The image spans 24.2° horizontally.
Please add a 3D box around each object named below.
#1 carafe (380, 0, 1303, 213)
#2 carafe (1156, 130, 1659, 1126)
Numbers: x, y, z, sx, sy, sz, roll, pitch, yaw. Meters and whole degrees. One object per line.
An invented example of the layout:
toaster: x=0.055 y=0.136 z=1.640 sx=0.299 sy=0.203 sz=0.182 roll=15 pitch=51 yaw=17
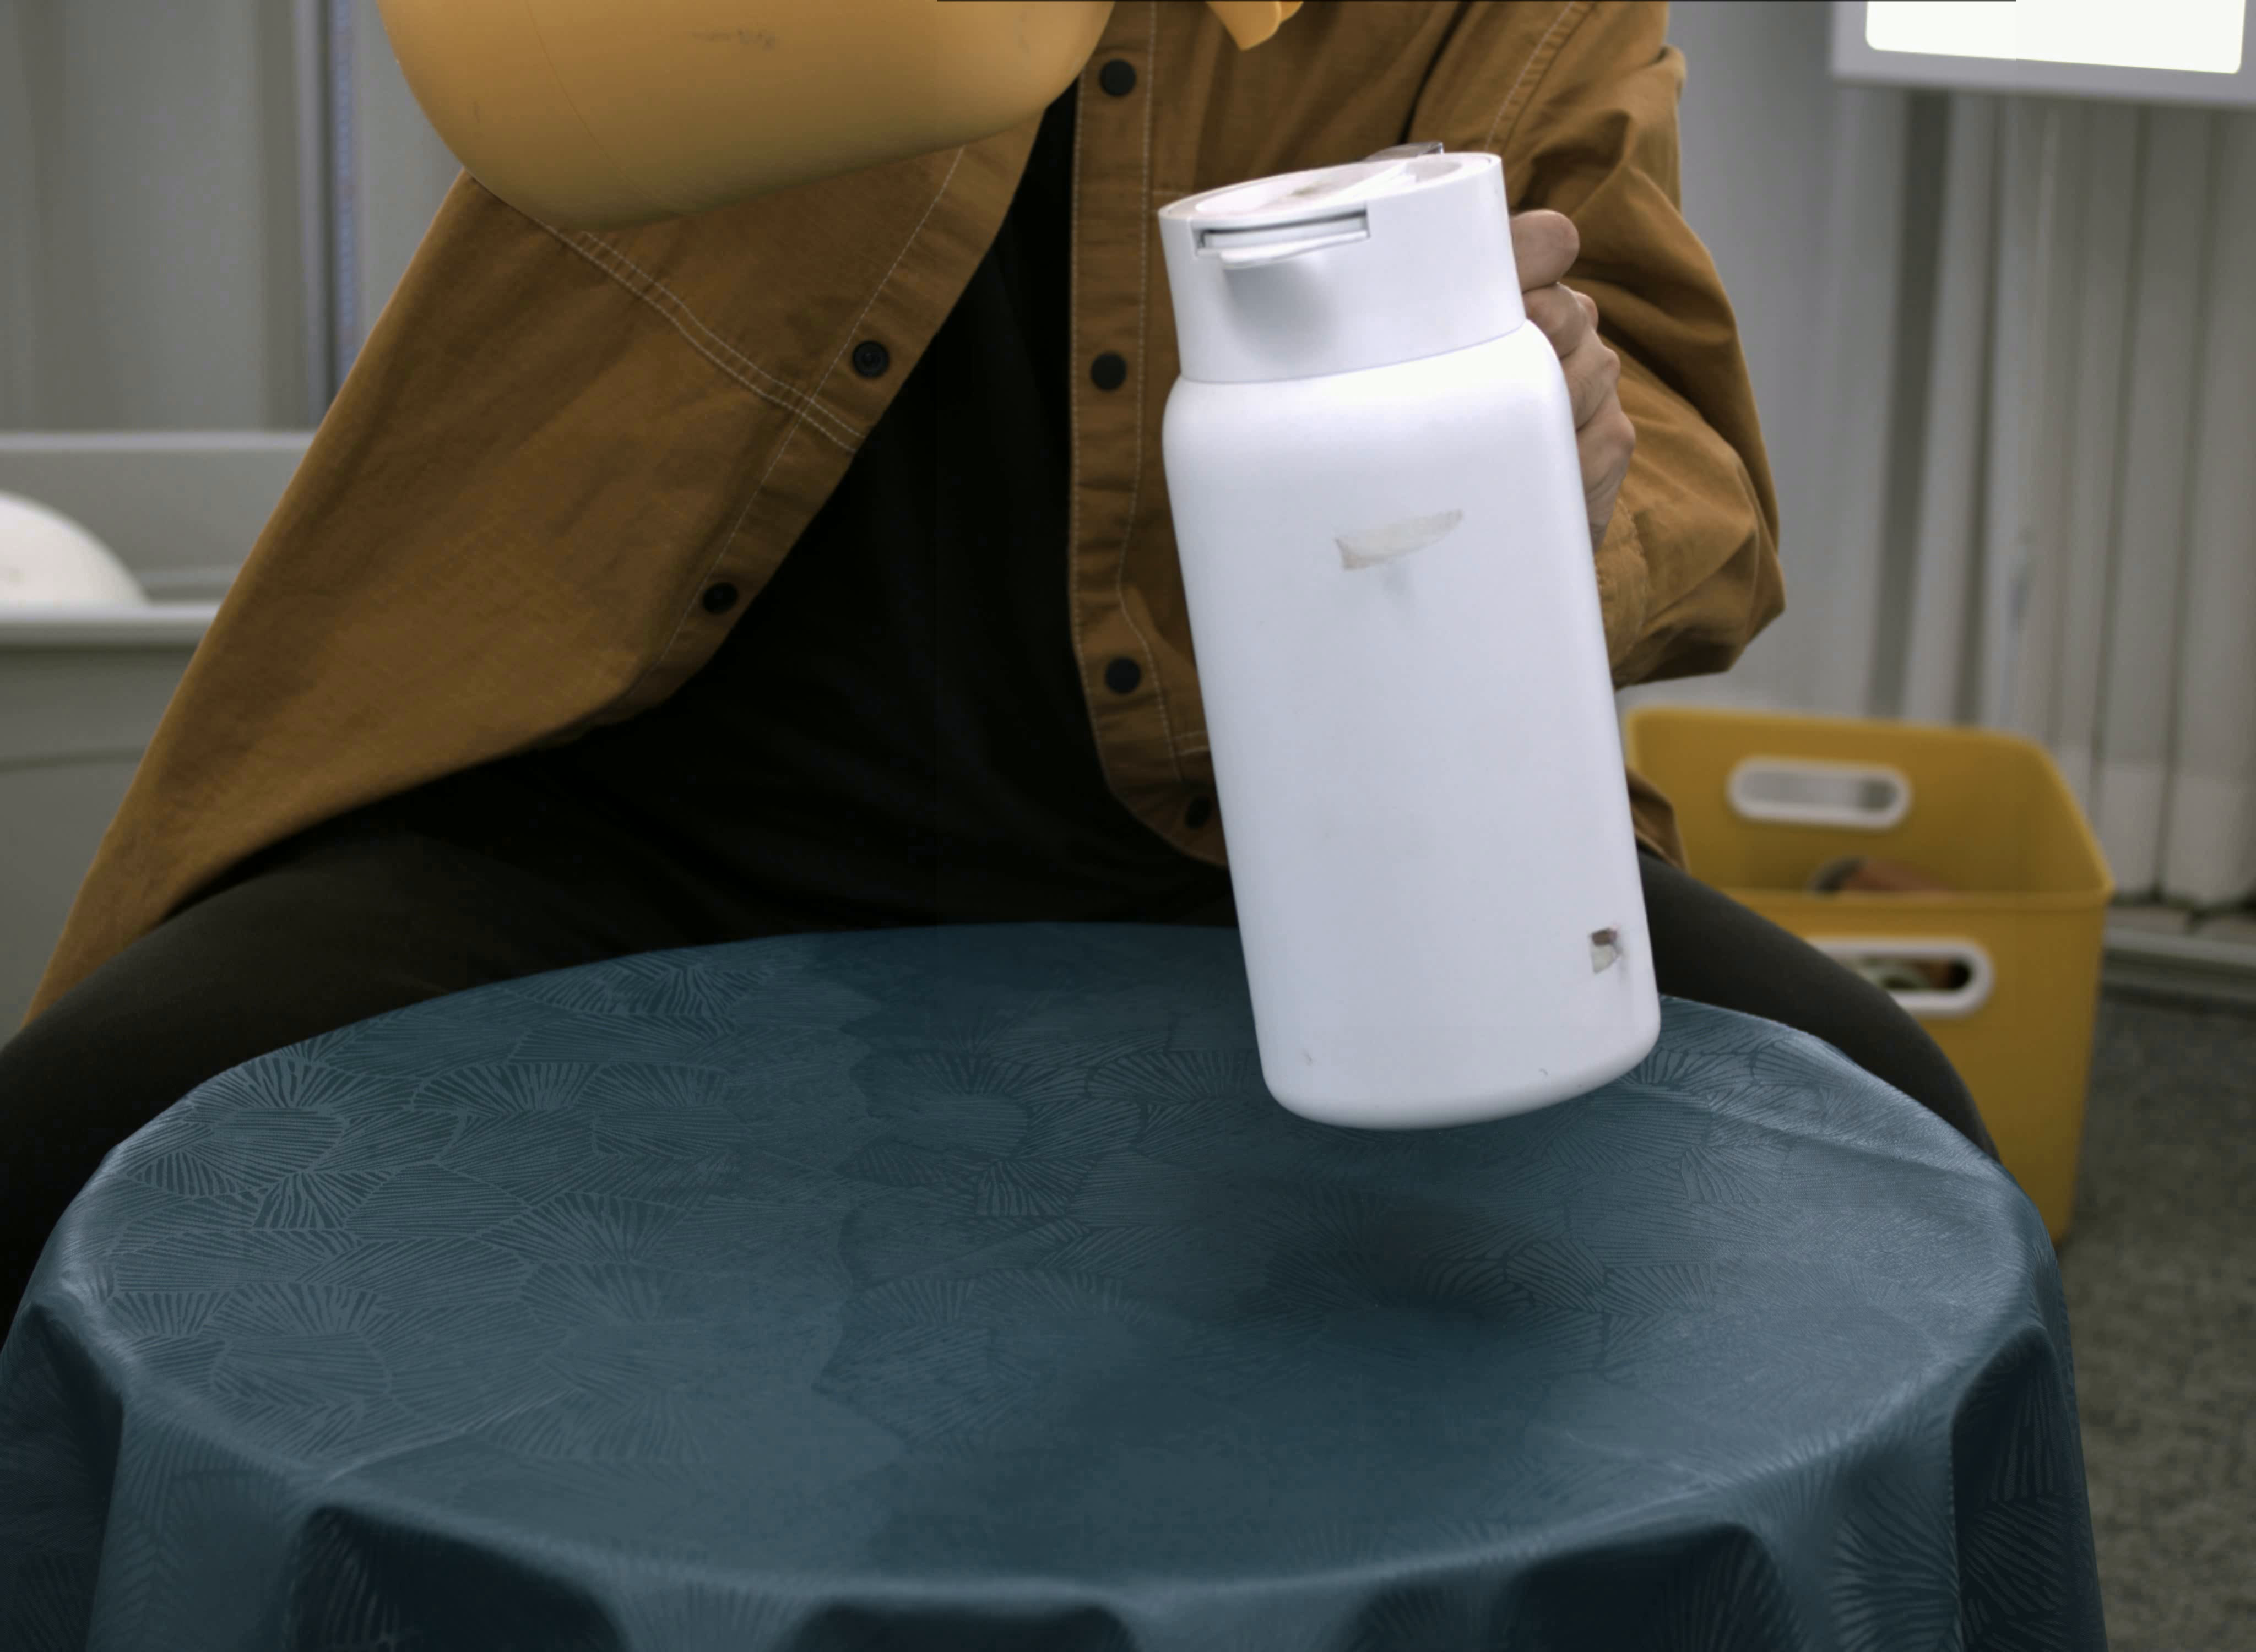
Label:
carafe: x=-0.080 y=-0.289 z=1.465 sx=0.258 sy=0.204 sz=0.163 roll=-10 pitch=17 yaw=18
carafe: x=0.082 y=-0.060 z=1.517 sx=0.123 sy=0.271 sz=0.173 roll=-6 pitch=13 yaw=24
